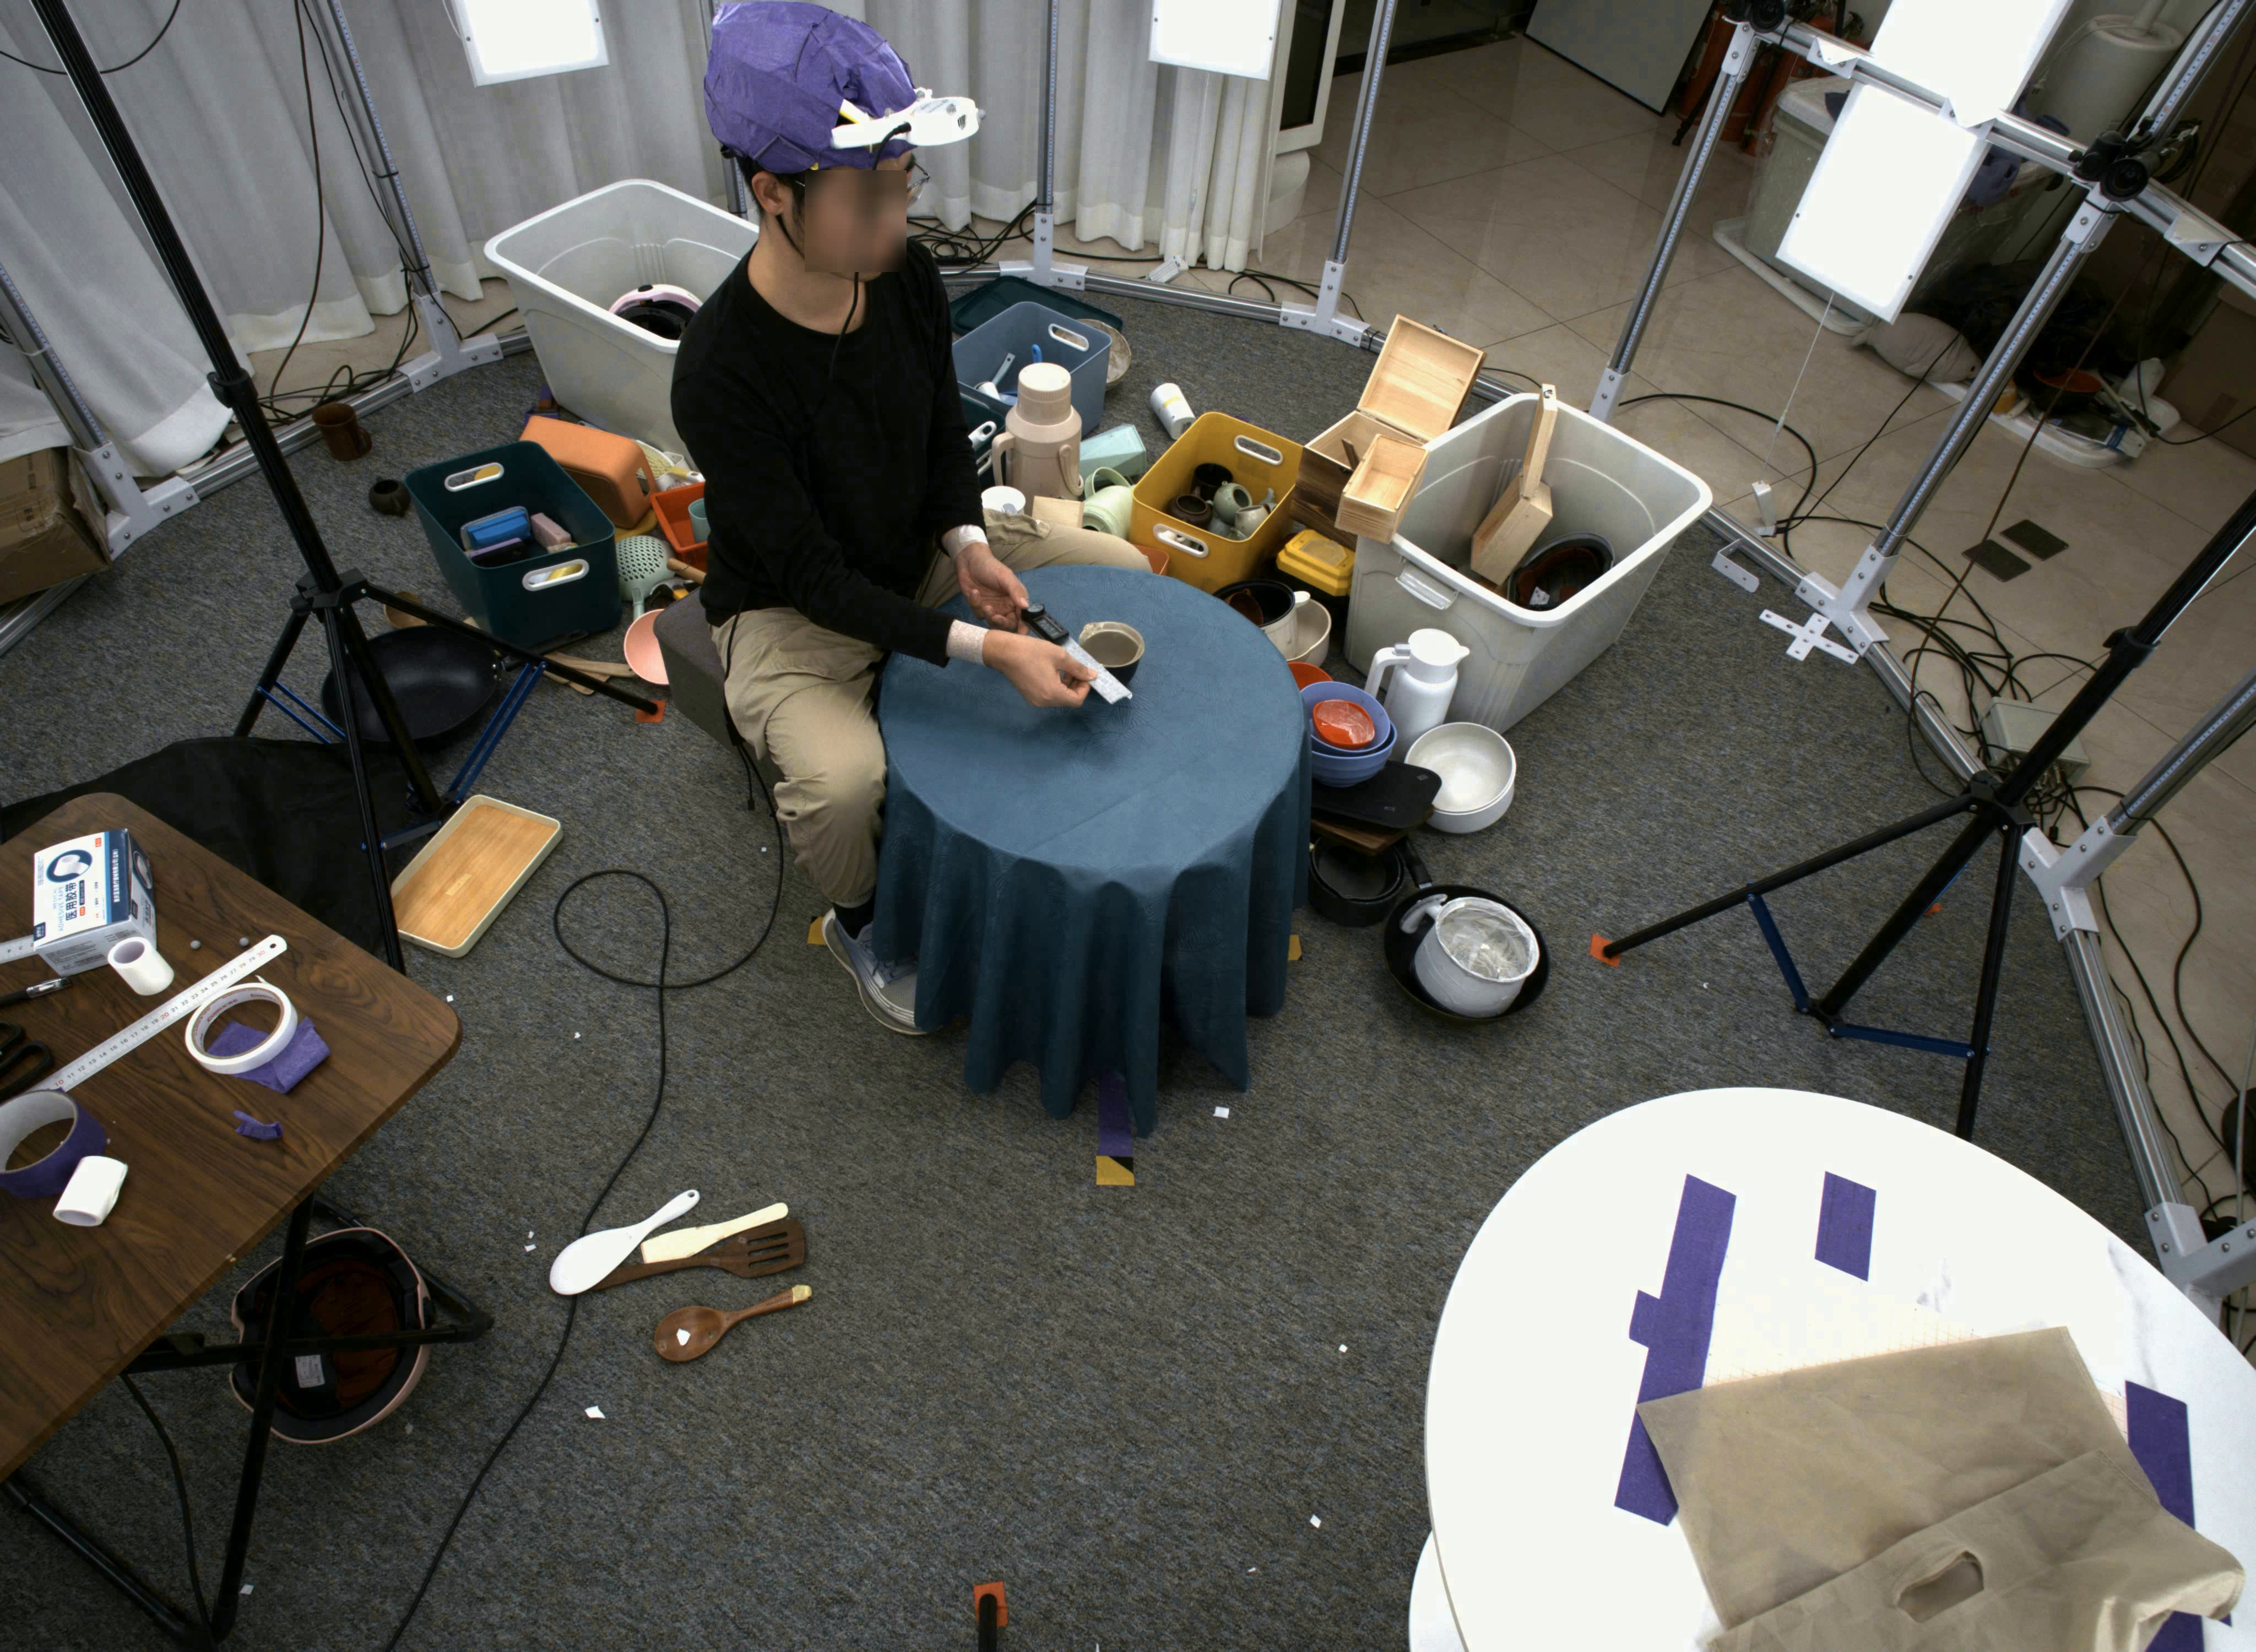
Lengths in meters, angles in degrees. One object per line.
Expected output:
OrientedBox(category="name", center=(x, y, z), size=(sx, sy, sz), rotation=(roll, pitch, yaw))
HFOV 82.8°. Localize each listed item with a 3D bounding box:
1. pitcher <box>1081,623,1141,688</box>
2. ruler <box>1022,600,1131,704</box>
OrientedBox(category="pitcher", center=(-0.029, -0.237, 1.827), size=(0.084, 0.069, 0.097), rotation=(-31, 59, -26))
OrientedBox(category="ruler", center=(-0.076, -0.244, 1.770), size=(0.038, 0.023, 0.222), rotation=(-31, 56, -22))
